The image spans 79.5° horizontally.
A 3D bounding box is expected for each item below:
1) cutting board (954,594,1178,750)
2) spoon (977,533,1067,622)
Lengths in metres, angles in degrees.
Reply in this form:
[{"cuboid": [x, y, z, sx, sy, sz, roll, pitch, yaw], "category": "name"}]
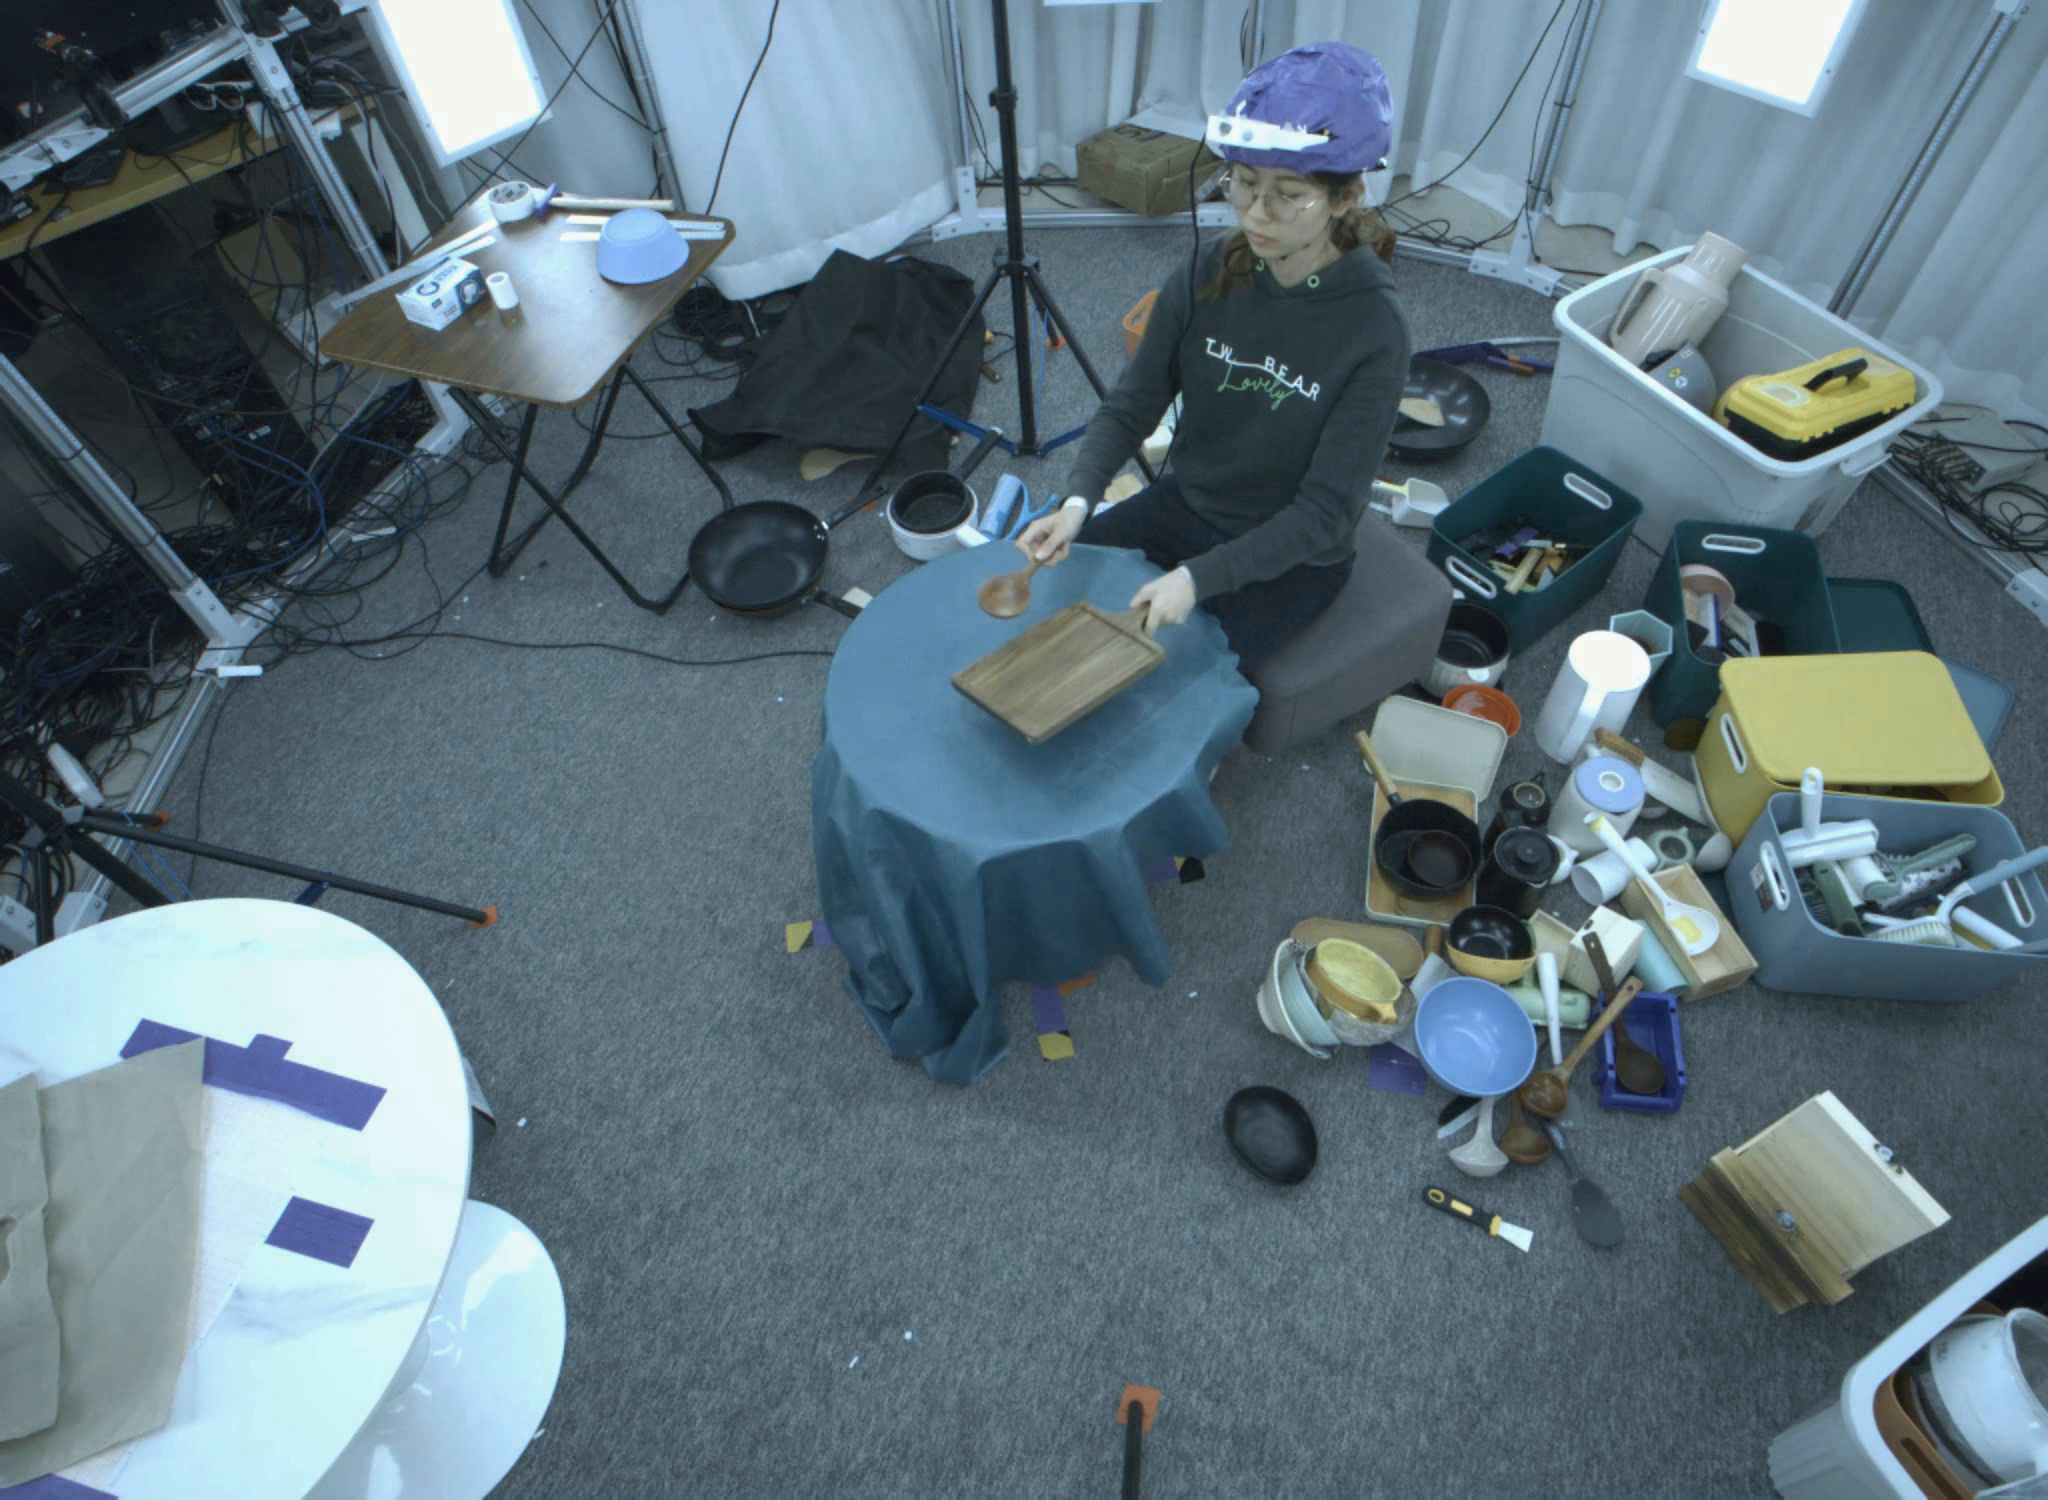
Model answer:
[{"cuboid": [0.090, -0.135, 1.776, 0.355, 0.023, 0.196, -33, 47, -24], "category": "cutting board"}, {"cuboid": [0.004, -0.256, 1.814, 0.075, 0.017, 0.217, 30, 55, 11], "category": "spoon"}]
